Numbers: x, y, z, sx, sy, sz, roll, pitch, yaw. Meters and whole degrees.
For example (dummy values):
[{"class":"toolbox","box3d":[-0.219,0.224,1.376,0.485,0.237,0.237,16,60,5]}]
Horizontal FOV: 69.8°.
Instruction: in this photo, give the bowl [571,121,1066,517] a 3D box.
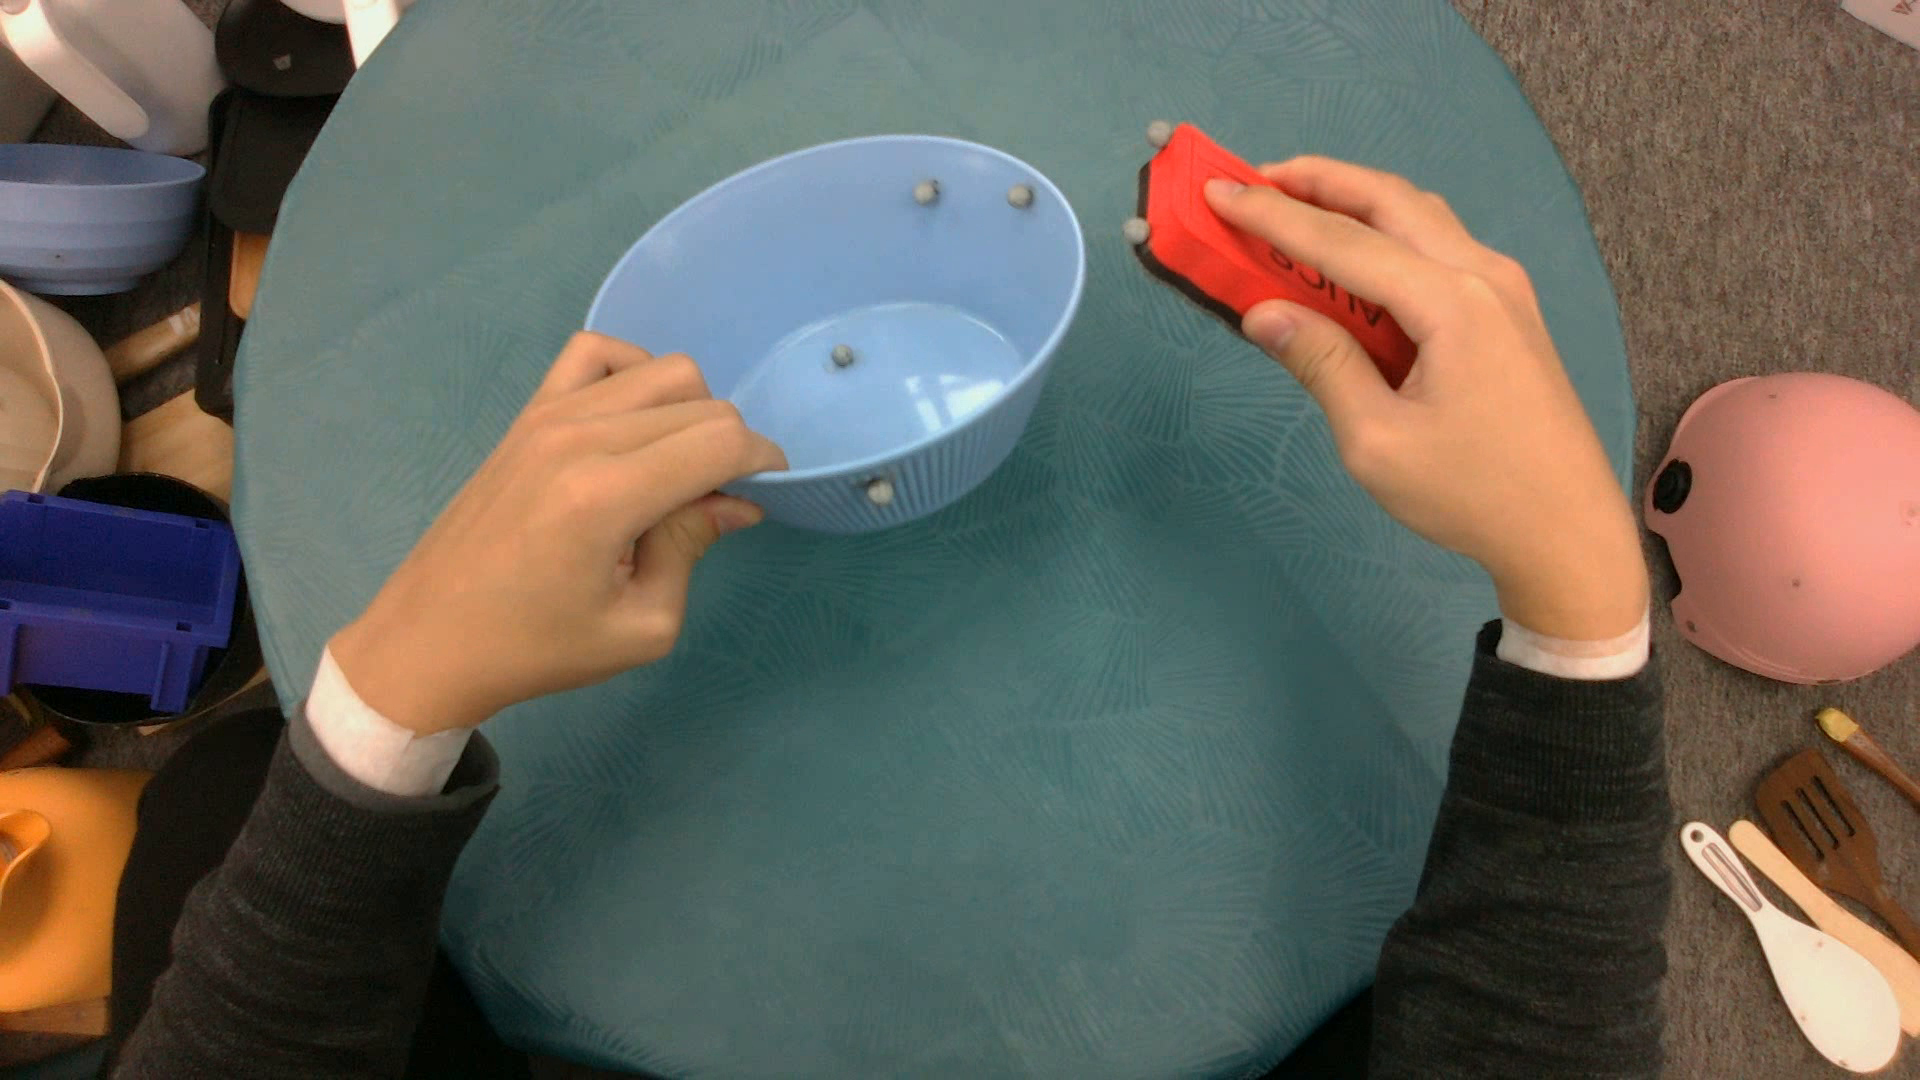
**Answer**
[{"class":"bowl","box3d":[-0.045,-0.073,0.498,0.176,0.070,0.177,-7,50,8]}]

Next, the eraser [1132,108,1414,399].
[{"class":"eraser","box3d":[0.107,-0.097,0.467,0.108,0.023,0.059,30,46,-20]}]
